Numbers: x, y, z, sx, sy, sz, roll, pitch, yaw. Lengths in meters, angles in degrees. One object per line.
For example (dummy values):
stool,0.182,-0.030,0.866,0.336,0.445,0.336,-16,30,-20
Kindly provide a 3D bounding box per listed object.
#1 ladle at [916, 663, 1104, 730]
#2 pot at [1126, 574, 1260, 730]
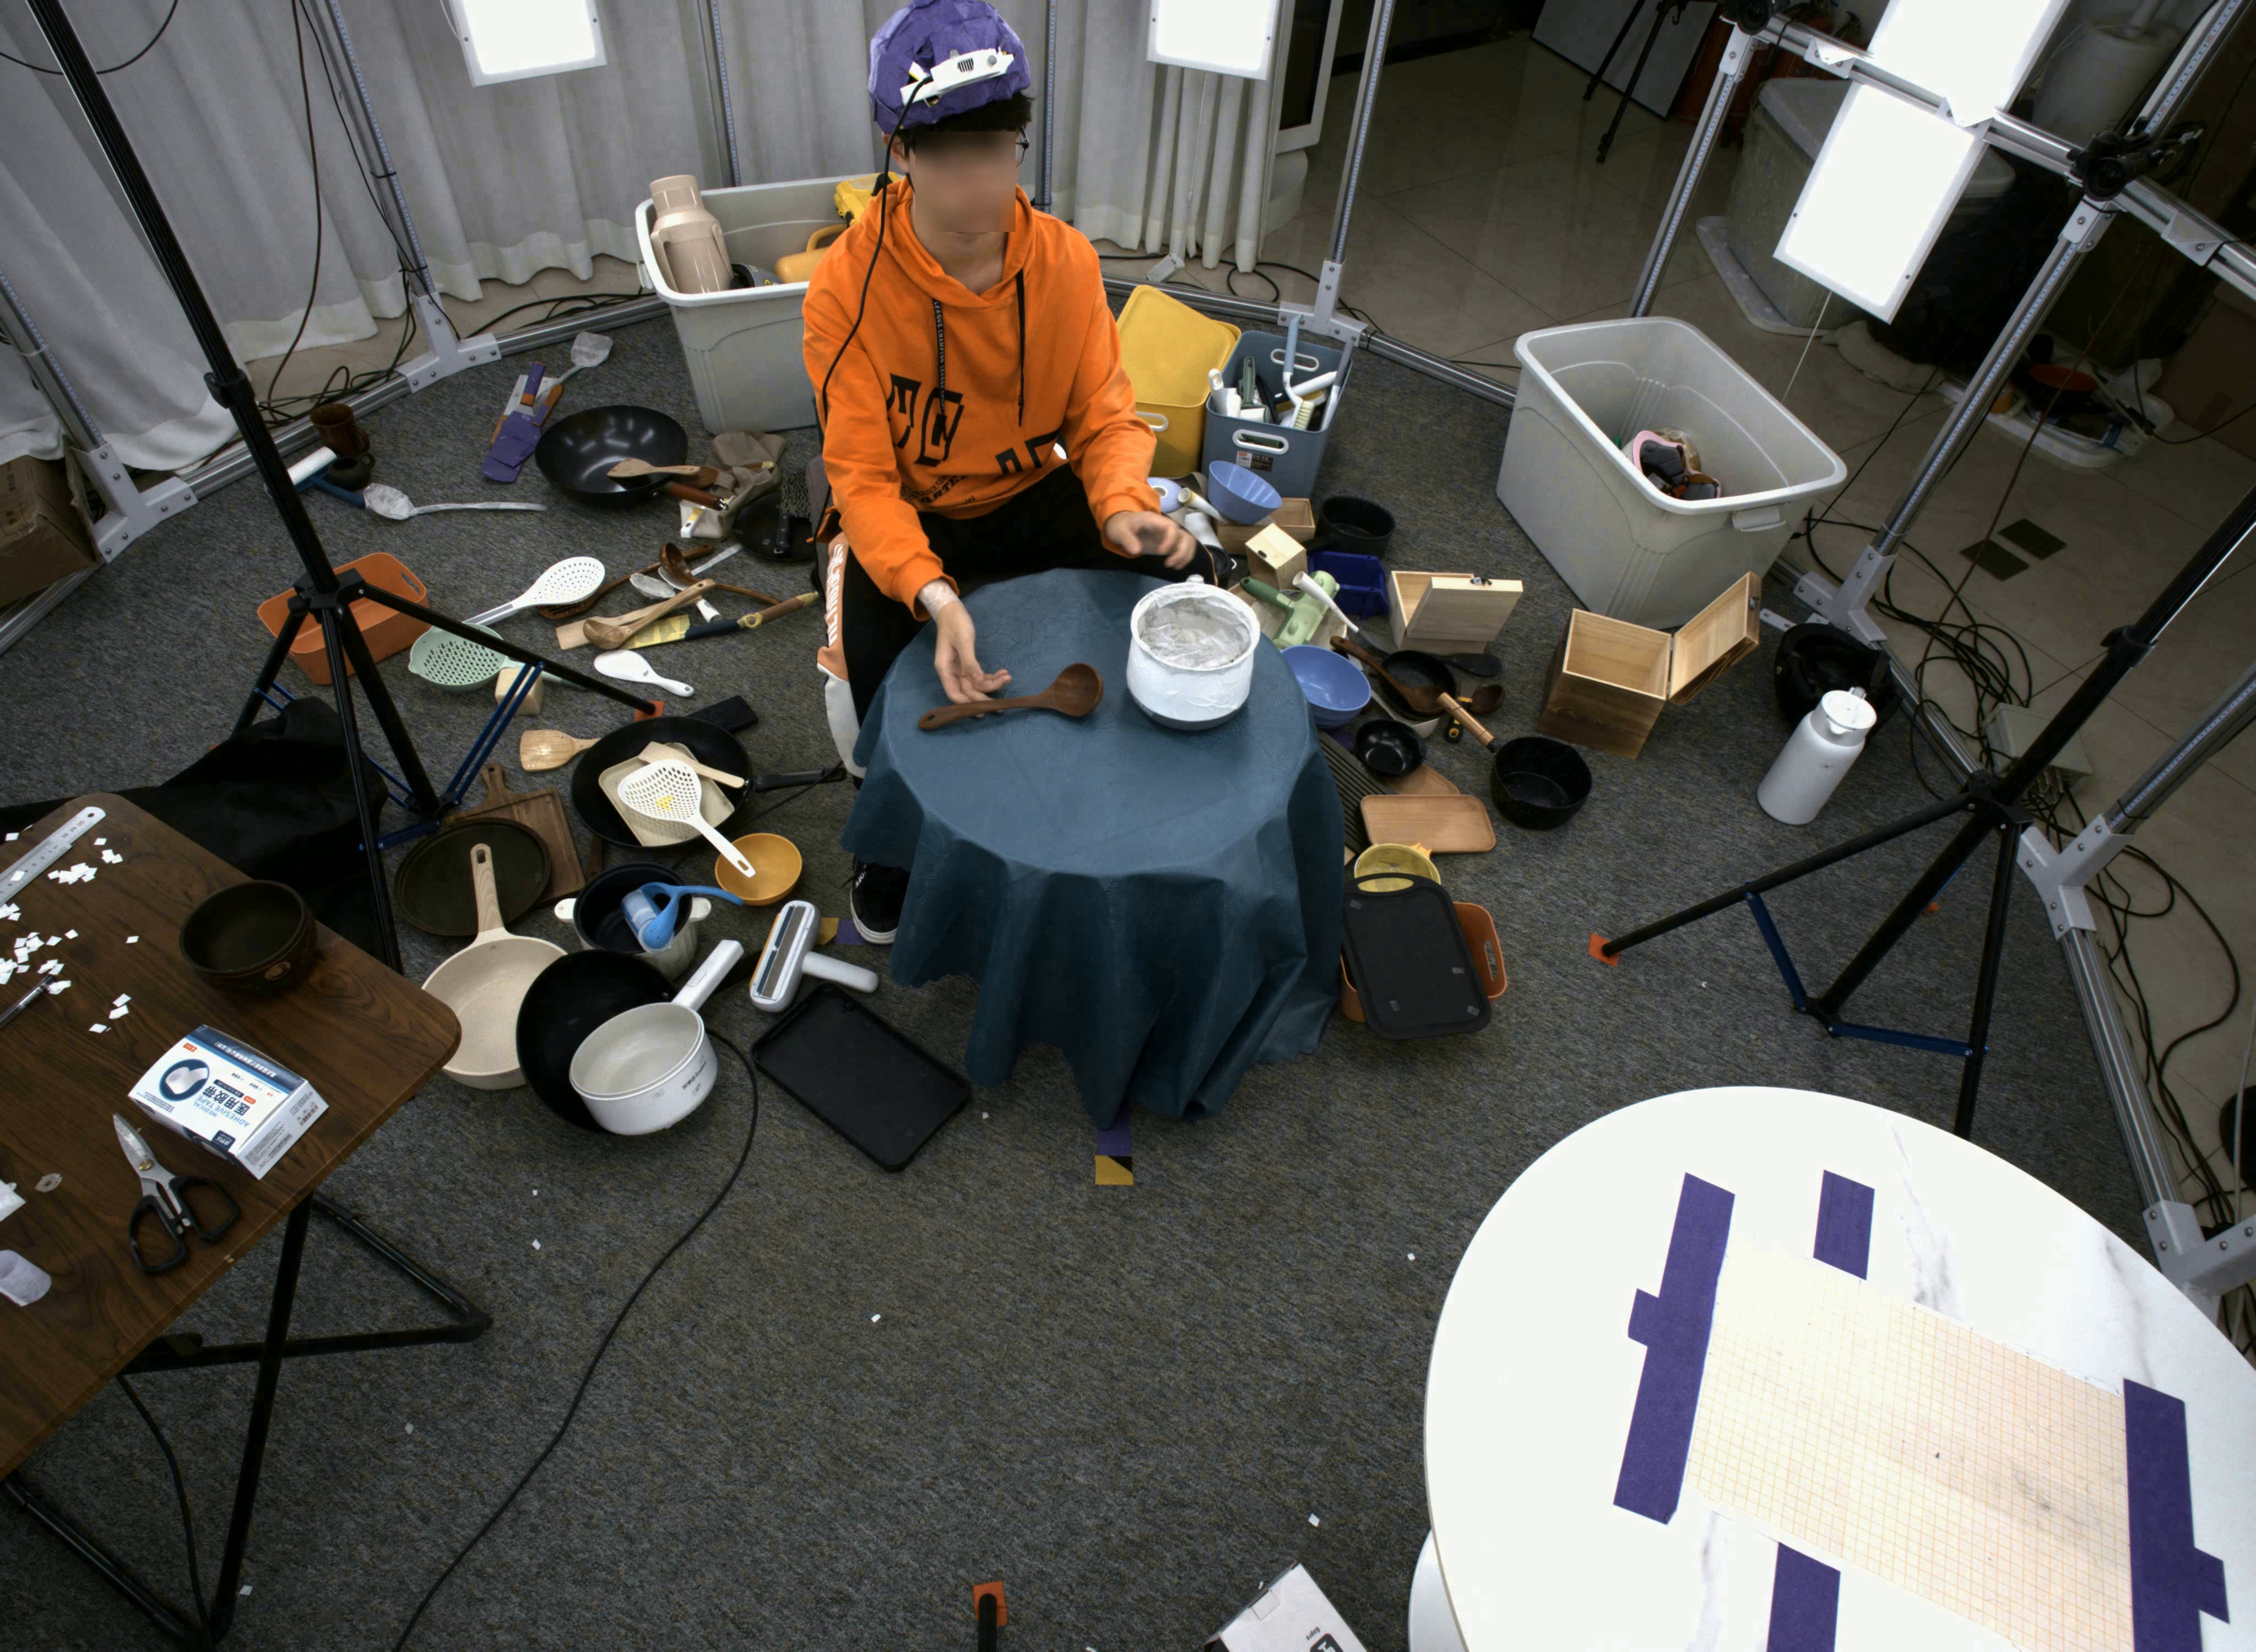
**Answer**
ladle,-0.162,-0.173,1.767,0.260,0.064,0.078,-10,65,-13
pot,0.088,-0.254,1.806,0.178,0.133,0.239,3,49,-2
